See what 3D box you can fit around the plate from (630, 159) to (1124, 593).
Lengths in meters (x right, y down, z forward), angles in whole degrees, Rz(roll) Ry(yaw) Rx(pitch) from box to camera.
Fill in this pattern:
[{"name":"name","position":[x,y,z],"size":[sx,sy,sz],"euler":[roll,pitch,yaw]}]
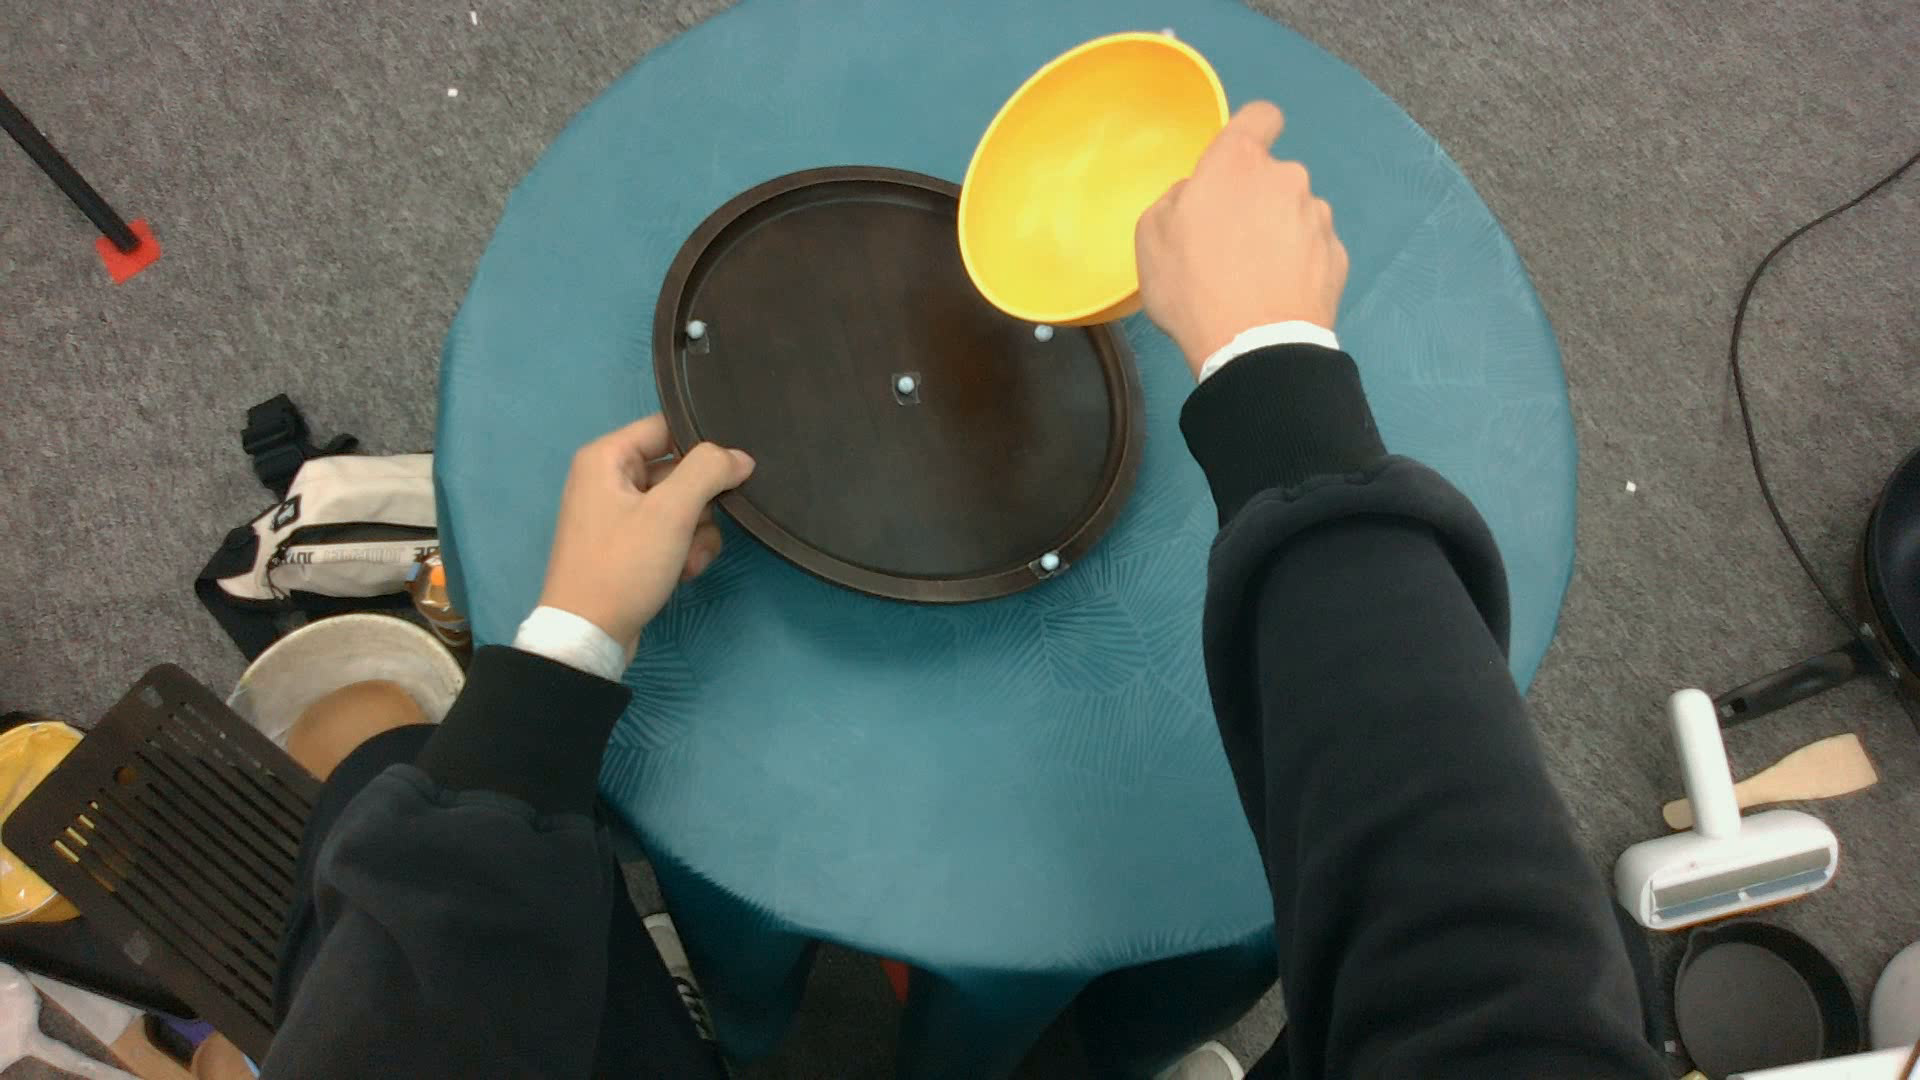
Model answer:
[{"name":"plate","position":[-0.037,-0.087,0.687],"size":[0.255,0.029,0.256],"euler":[10,61,-18]}]

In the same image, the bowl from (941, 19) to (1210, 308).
[{"name":"bowl","position":[0.065,-0.171,0.668],"size":[0.145,0.060,0.146],"euler":[-13,67,33]}]
